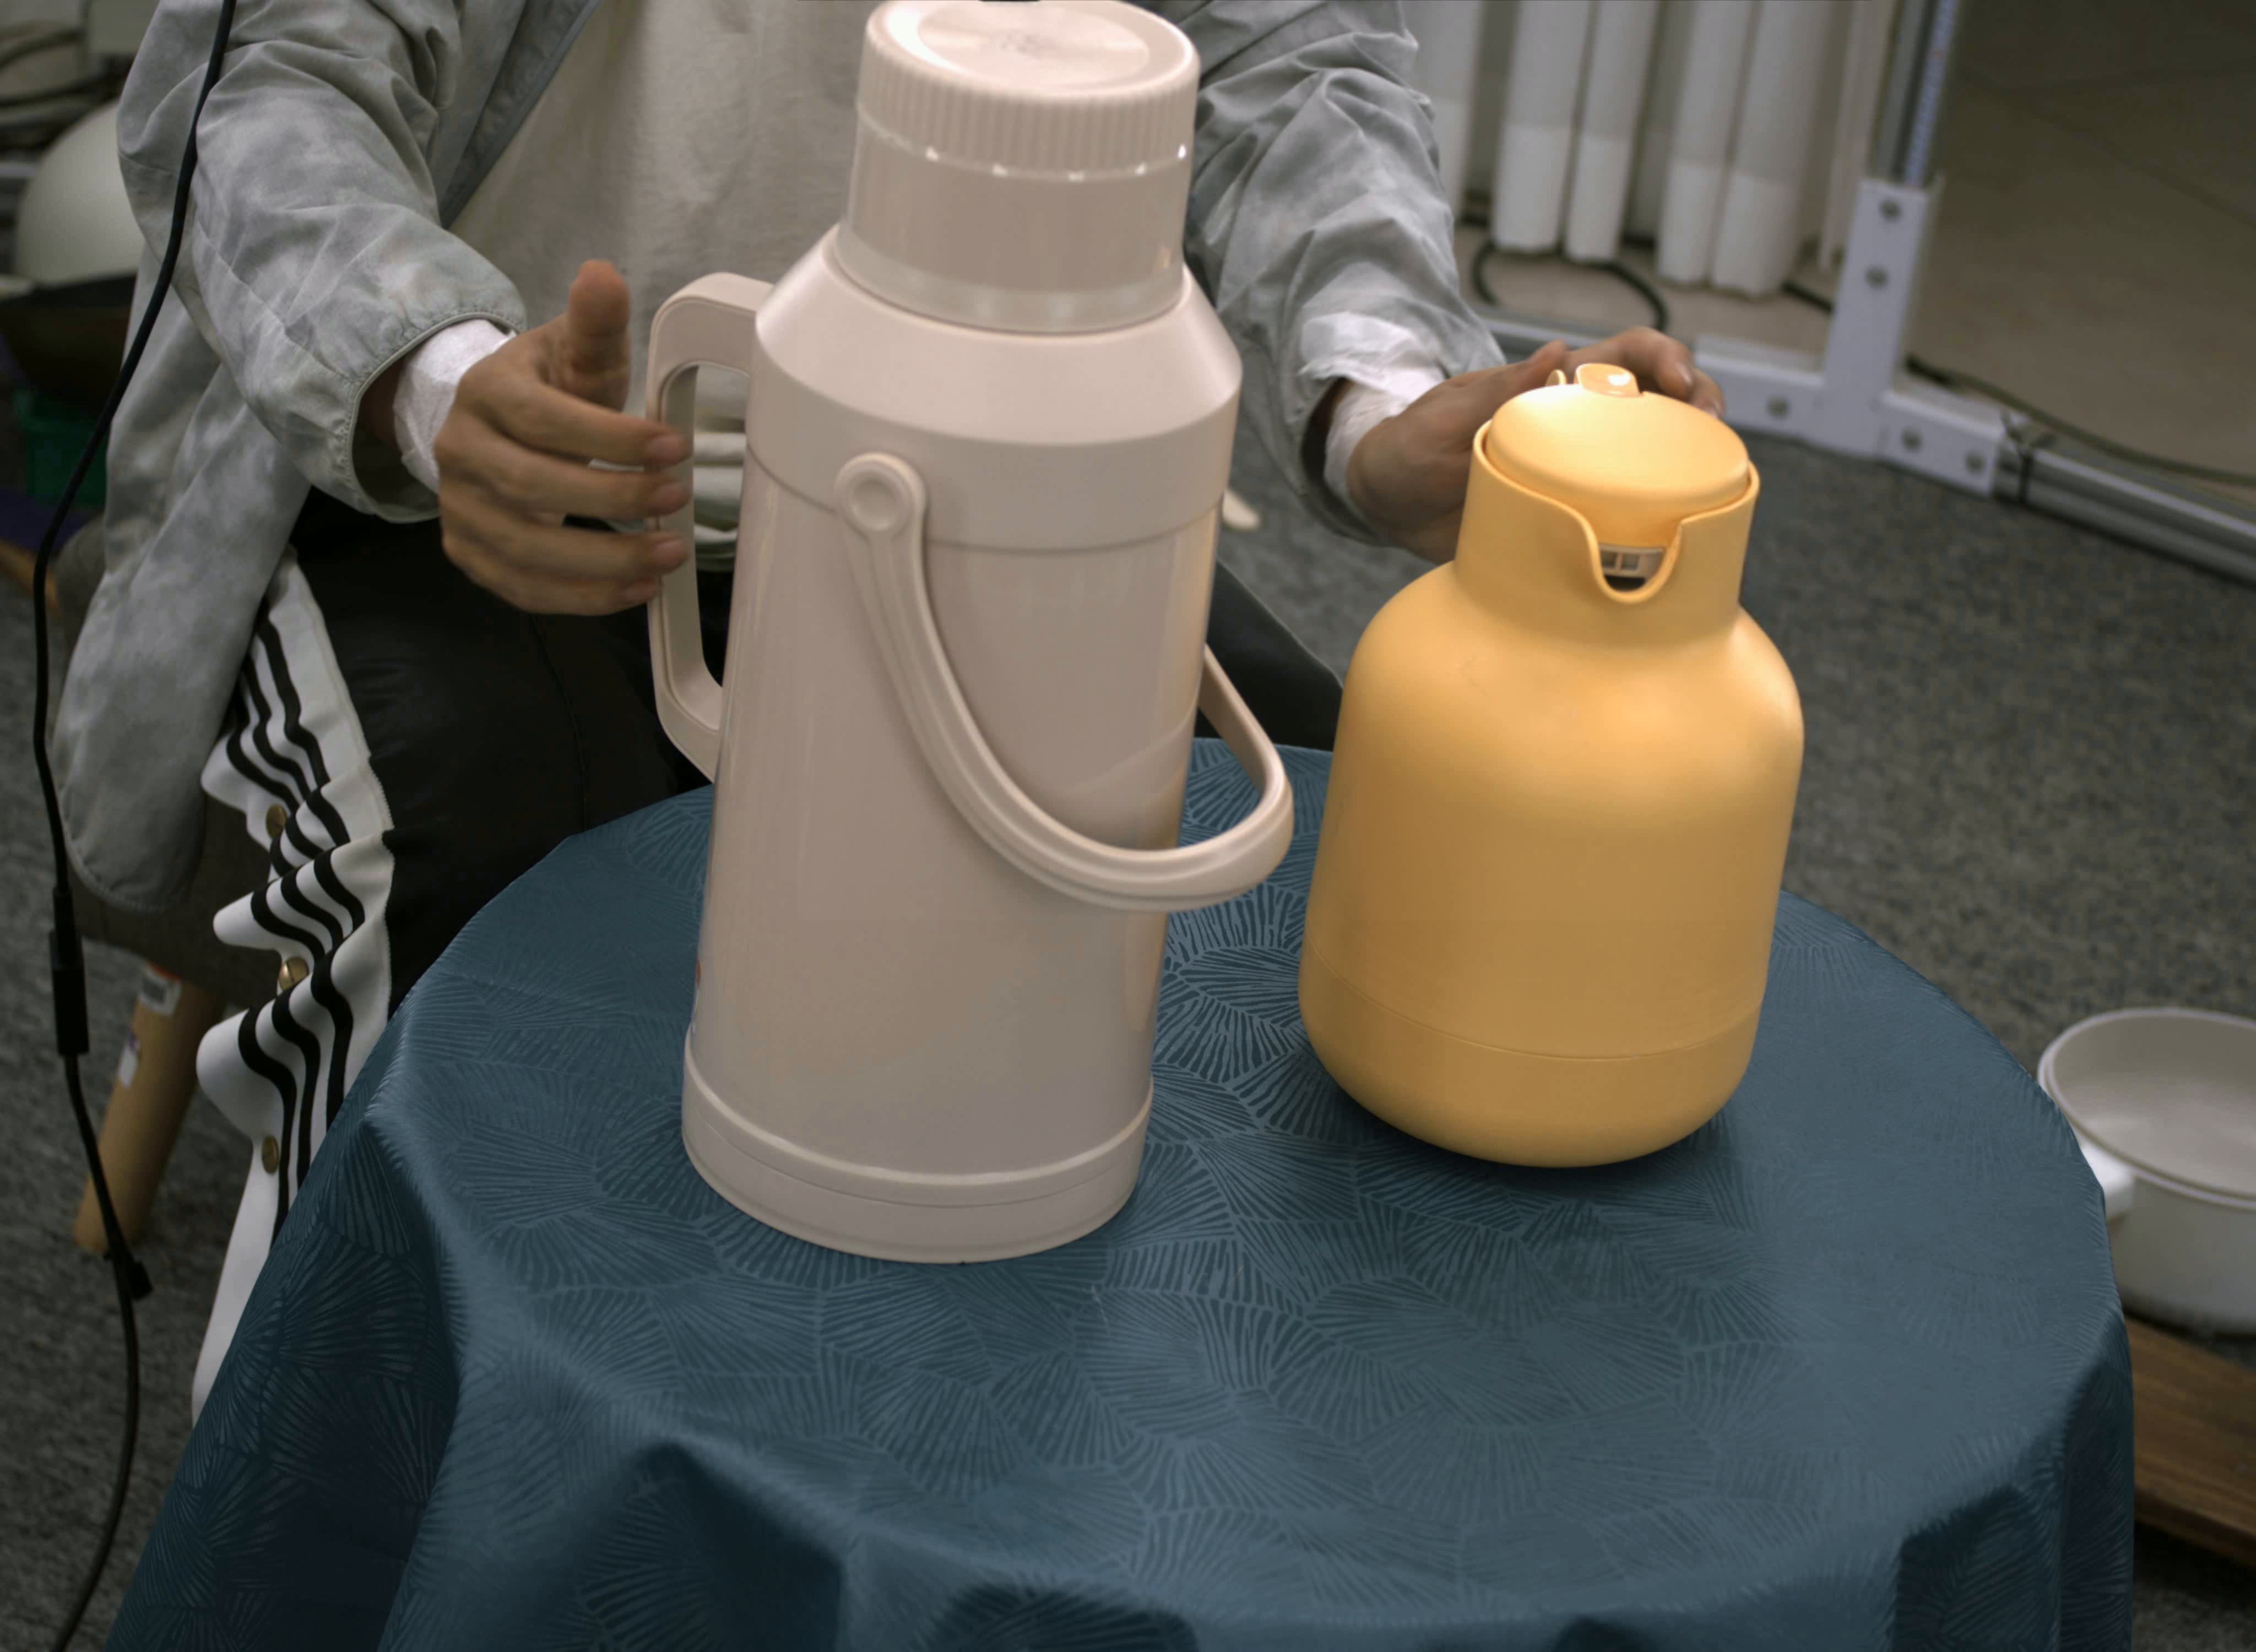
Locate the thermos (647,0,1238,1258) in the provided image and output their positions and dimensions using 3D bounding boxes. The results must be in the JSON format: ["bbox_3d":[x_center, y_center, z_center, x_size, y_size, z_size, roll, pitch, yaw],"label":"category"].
[{"bbox_3d":[-0.065,-0.073,1.738,0.207,0.405,0.175,17,29,19],"label":"thermos"}]

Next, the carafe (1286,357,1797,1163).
[{"bbox_3d":[0.151,-0.032,1.857,0.163,0.259,0.203,9,28,-2],"label":"carafe"}]
